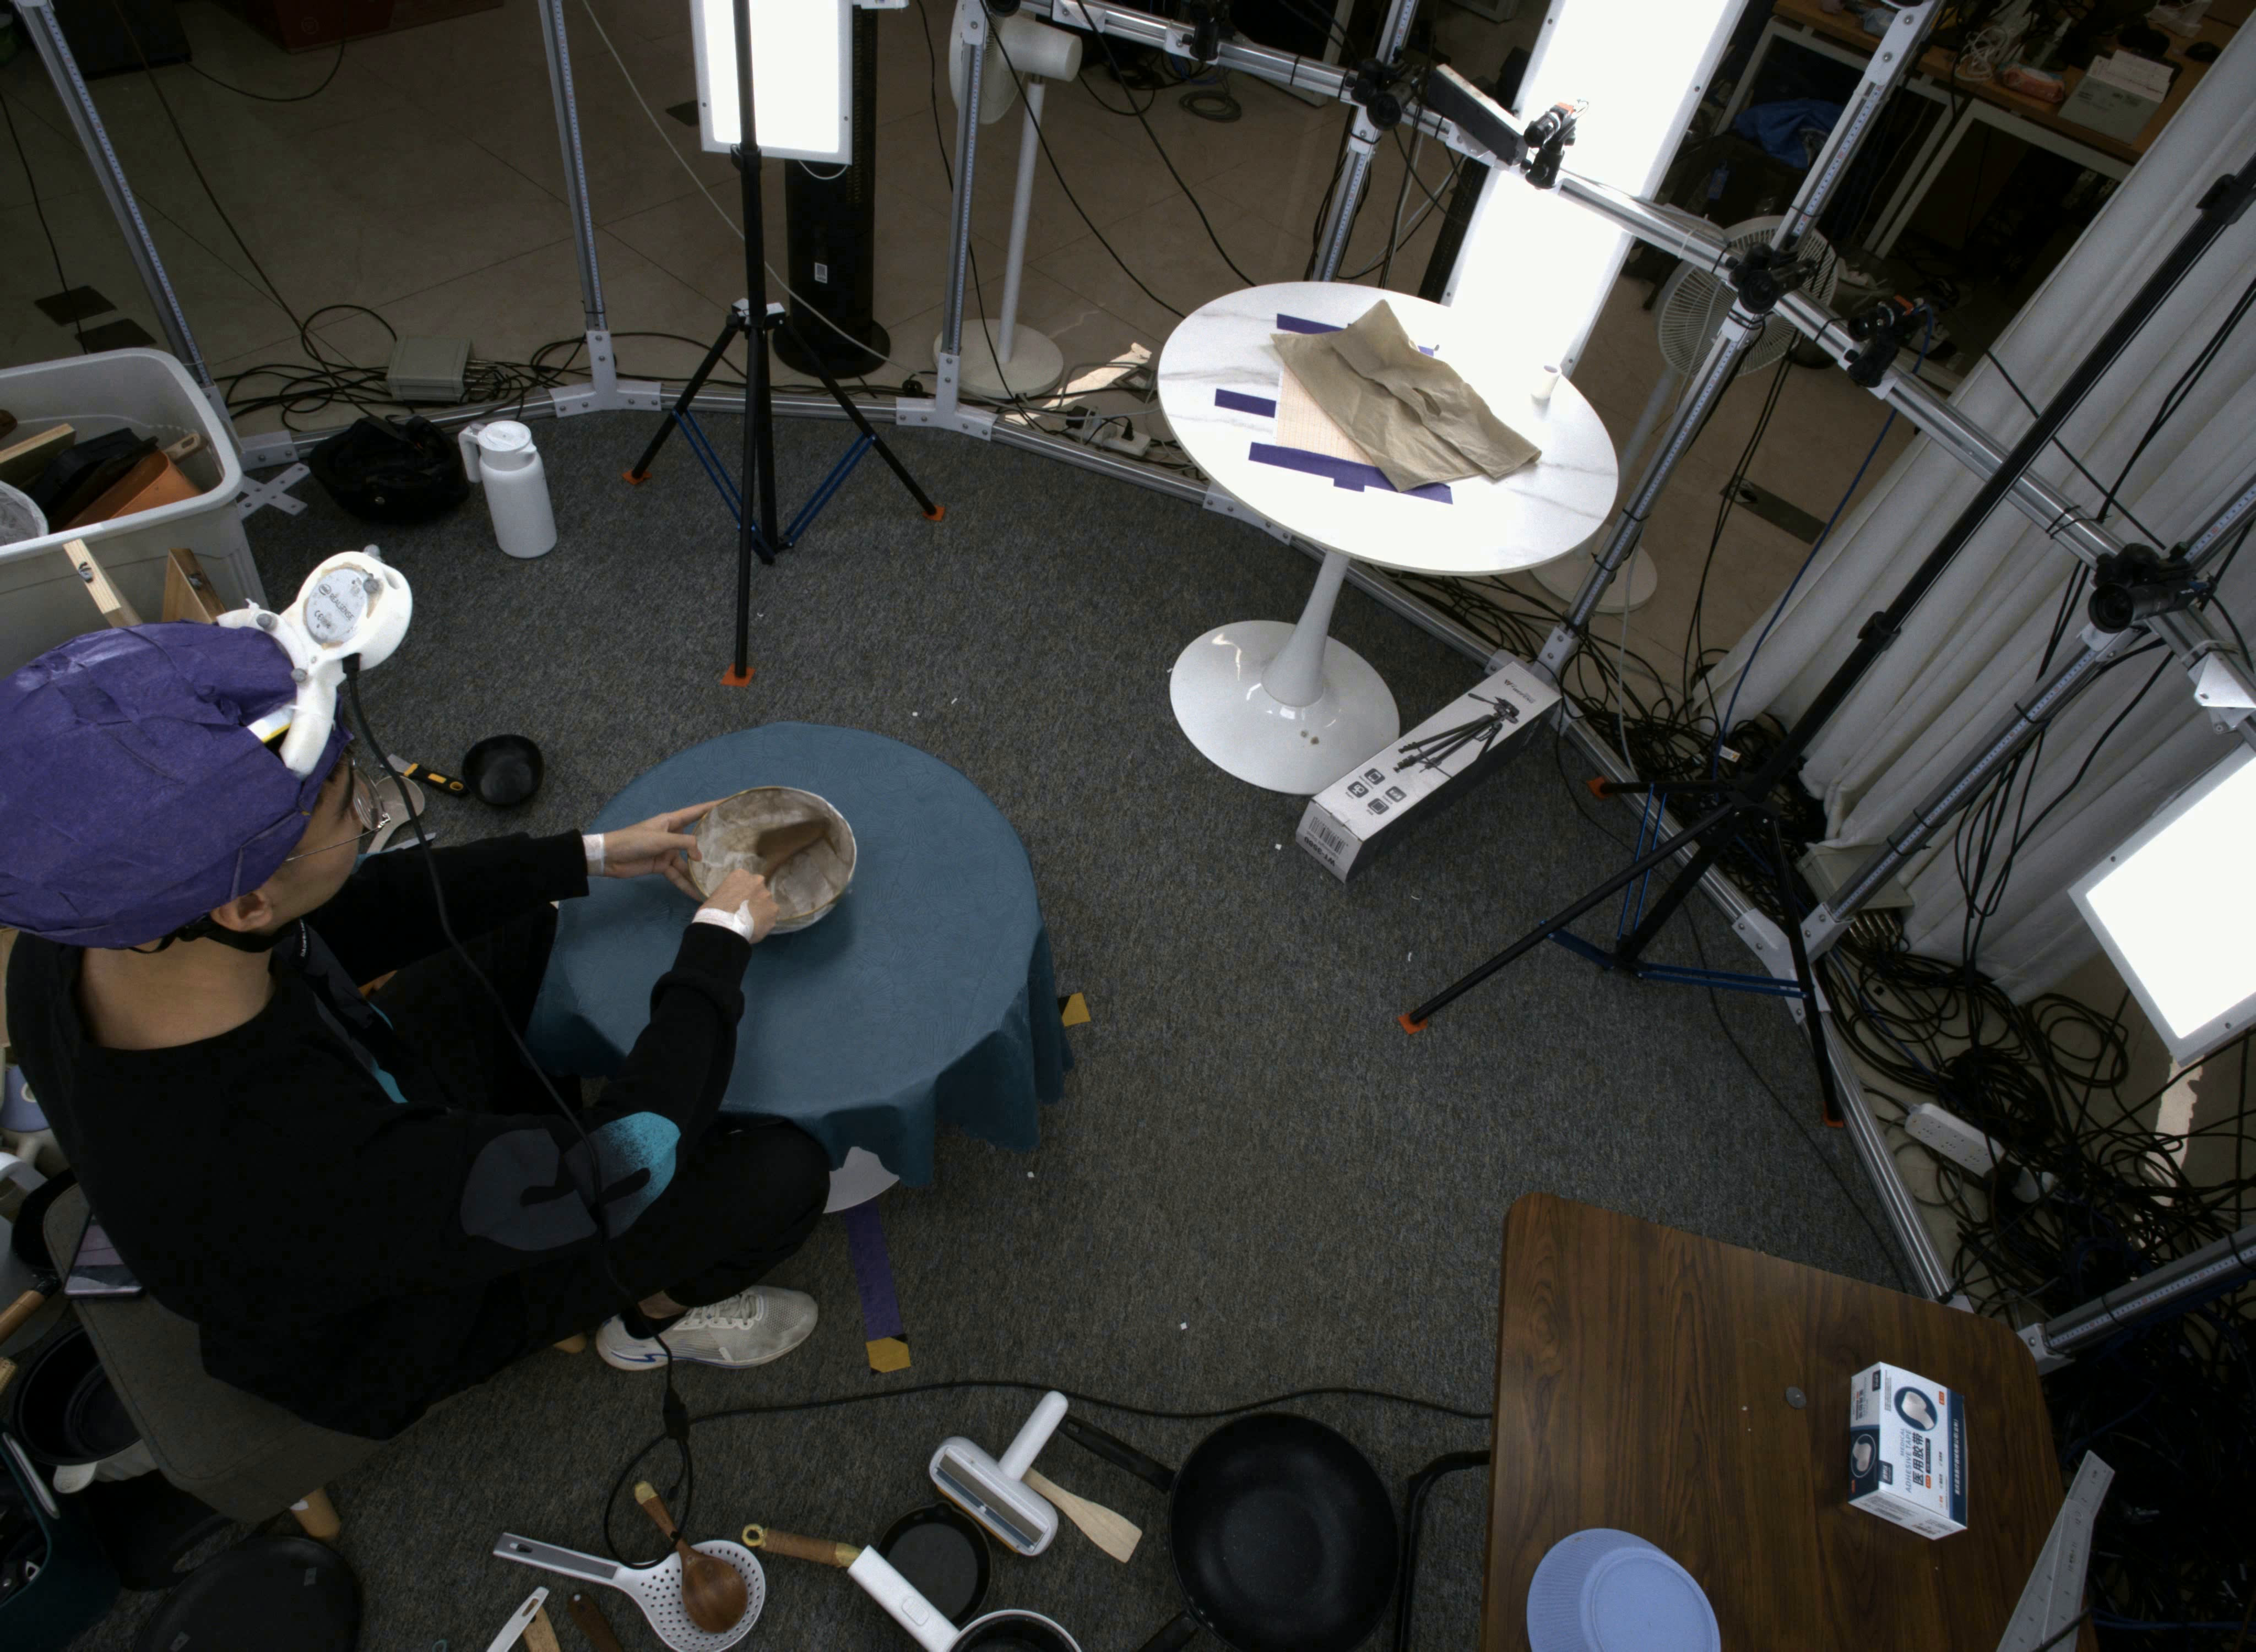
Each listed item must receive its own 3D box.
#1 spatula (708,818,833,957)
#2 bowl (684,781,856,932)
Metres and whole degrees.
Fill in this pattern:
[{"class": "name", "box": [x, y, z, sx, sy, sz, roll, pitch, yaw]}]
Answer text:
[{"class": "spatula", "box": [-0.419, 0.064, 1.497, 0.095, 0.016, 0.379, -15, 18, 5]}, {"class": "bowl", "box": [-0.447, 0.051, 1.621, 0.214, 0.096, 0.211, 8, 56, -10]}]
